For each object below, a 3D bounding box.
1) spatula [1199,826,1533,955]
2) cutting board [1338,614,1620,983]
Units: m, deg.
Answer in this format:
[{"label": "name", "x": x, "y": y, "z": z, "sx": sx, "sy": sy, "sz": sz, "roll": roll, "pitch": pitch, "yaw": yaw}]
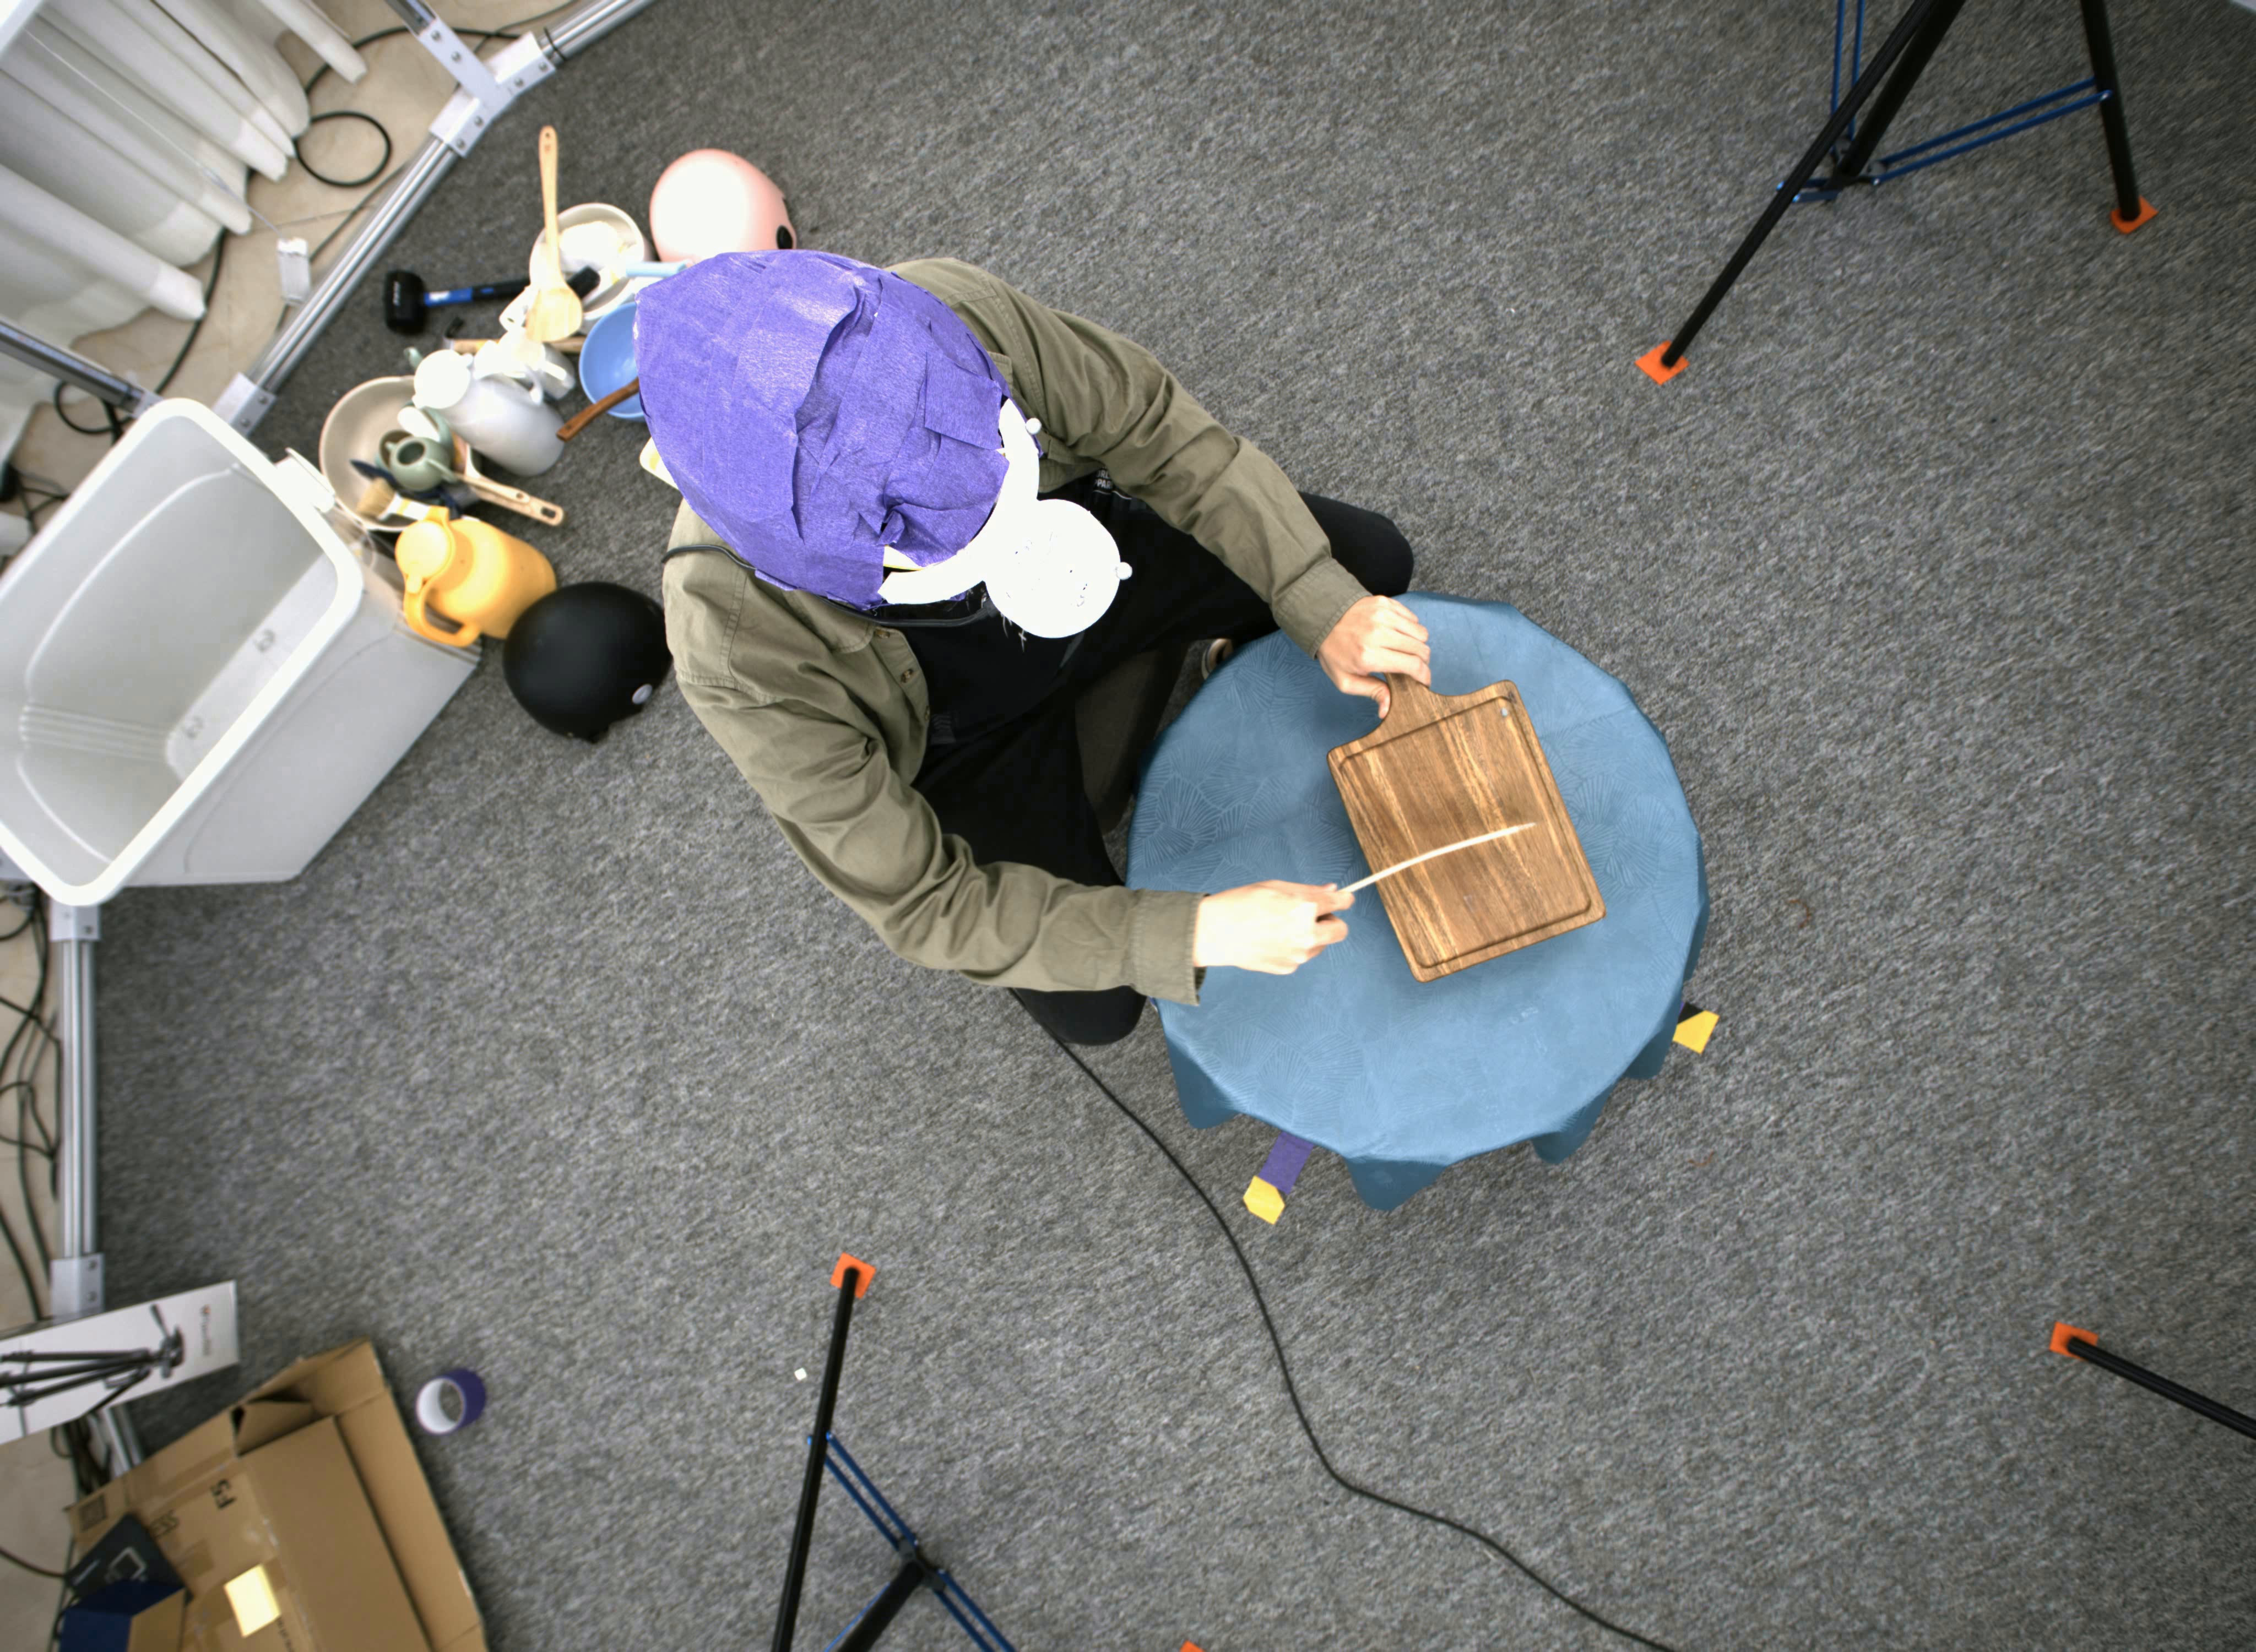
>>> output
[{"label": "spatula", "x": 0.217, "y": 0.055, "z": 1.246, "sx": 0.327, "sy": 0.080, "sz": 0.016, "roll": -22, "pitch": 86, "yaw": -3}, {"label": "cutting board", "x": 0.322, "y": -0.042, "z": 1.334, "sx": 0.203, "sy": 0.023, "sz": 0.352, "roll": -20, "pitch": 92, "yaw": 17}]
